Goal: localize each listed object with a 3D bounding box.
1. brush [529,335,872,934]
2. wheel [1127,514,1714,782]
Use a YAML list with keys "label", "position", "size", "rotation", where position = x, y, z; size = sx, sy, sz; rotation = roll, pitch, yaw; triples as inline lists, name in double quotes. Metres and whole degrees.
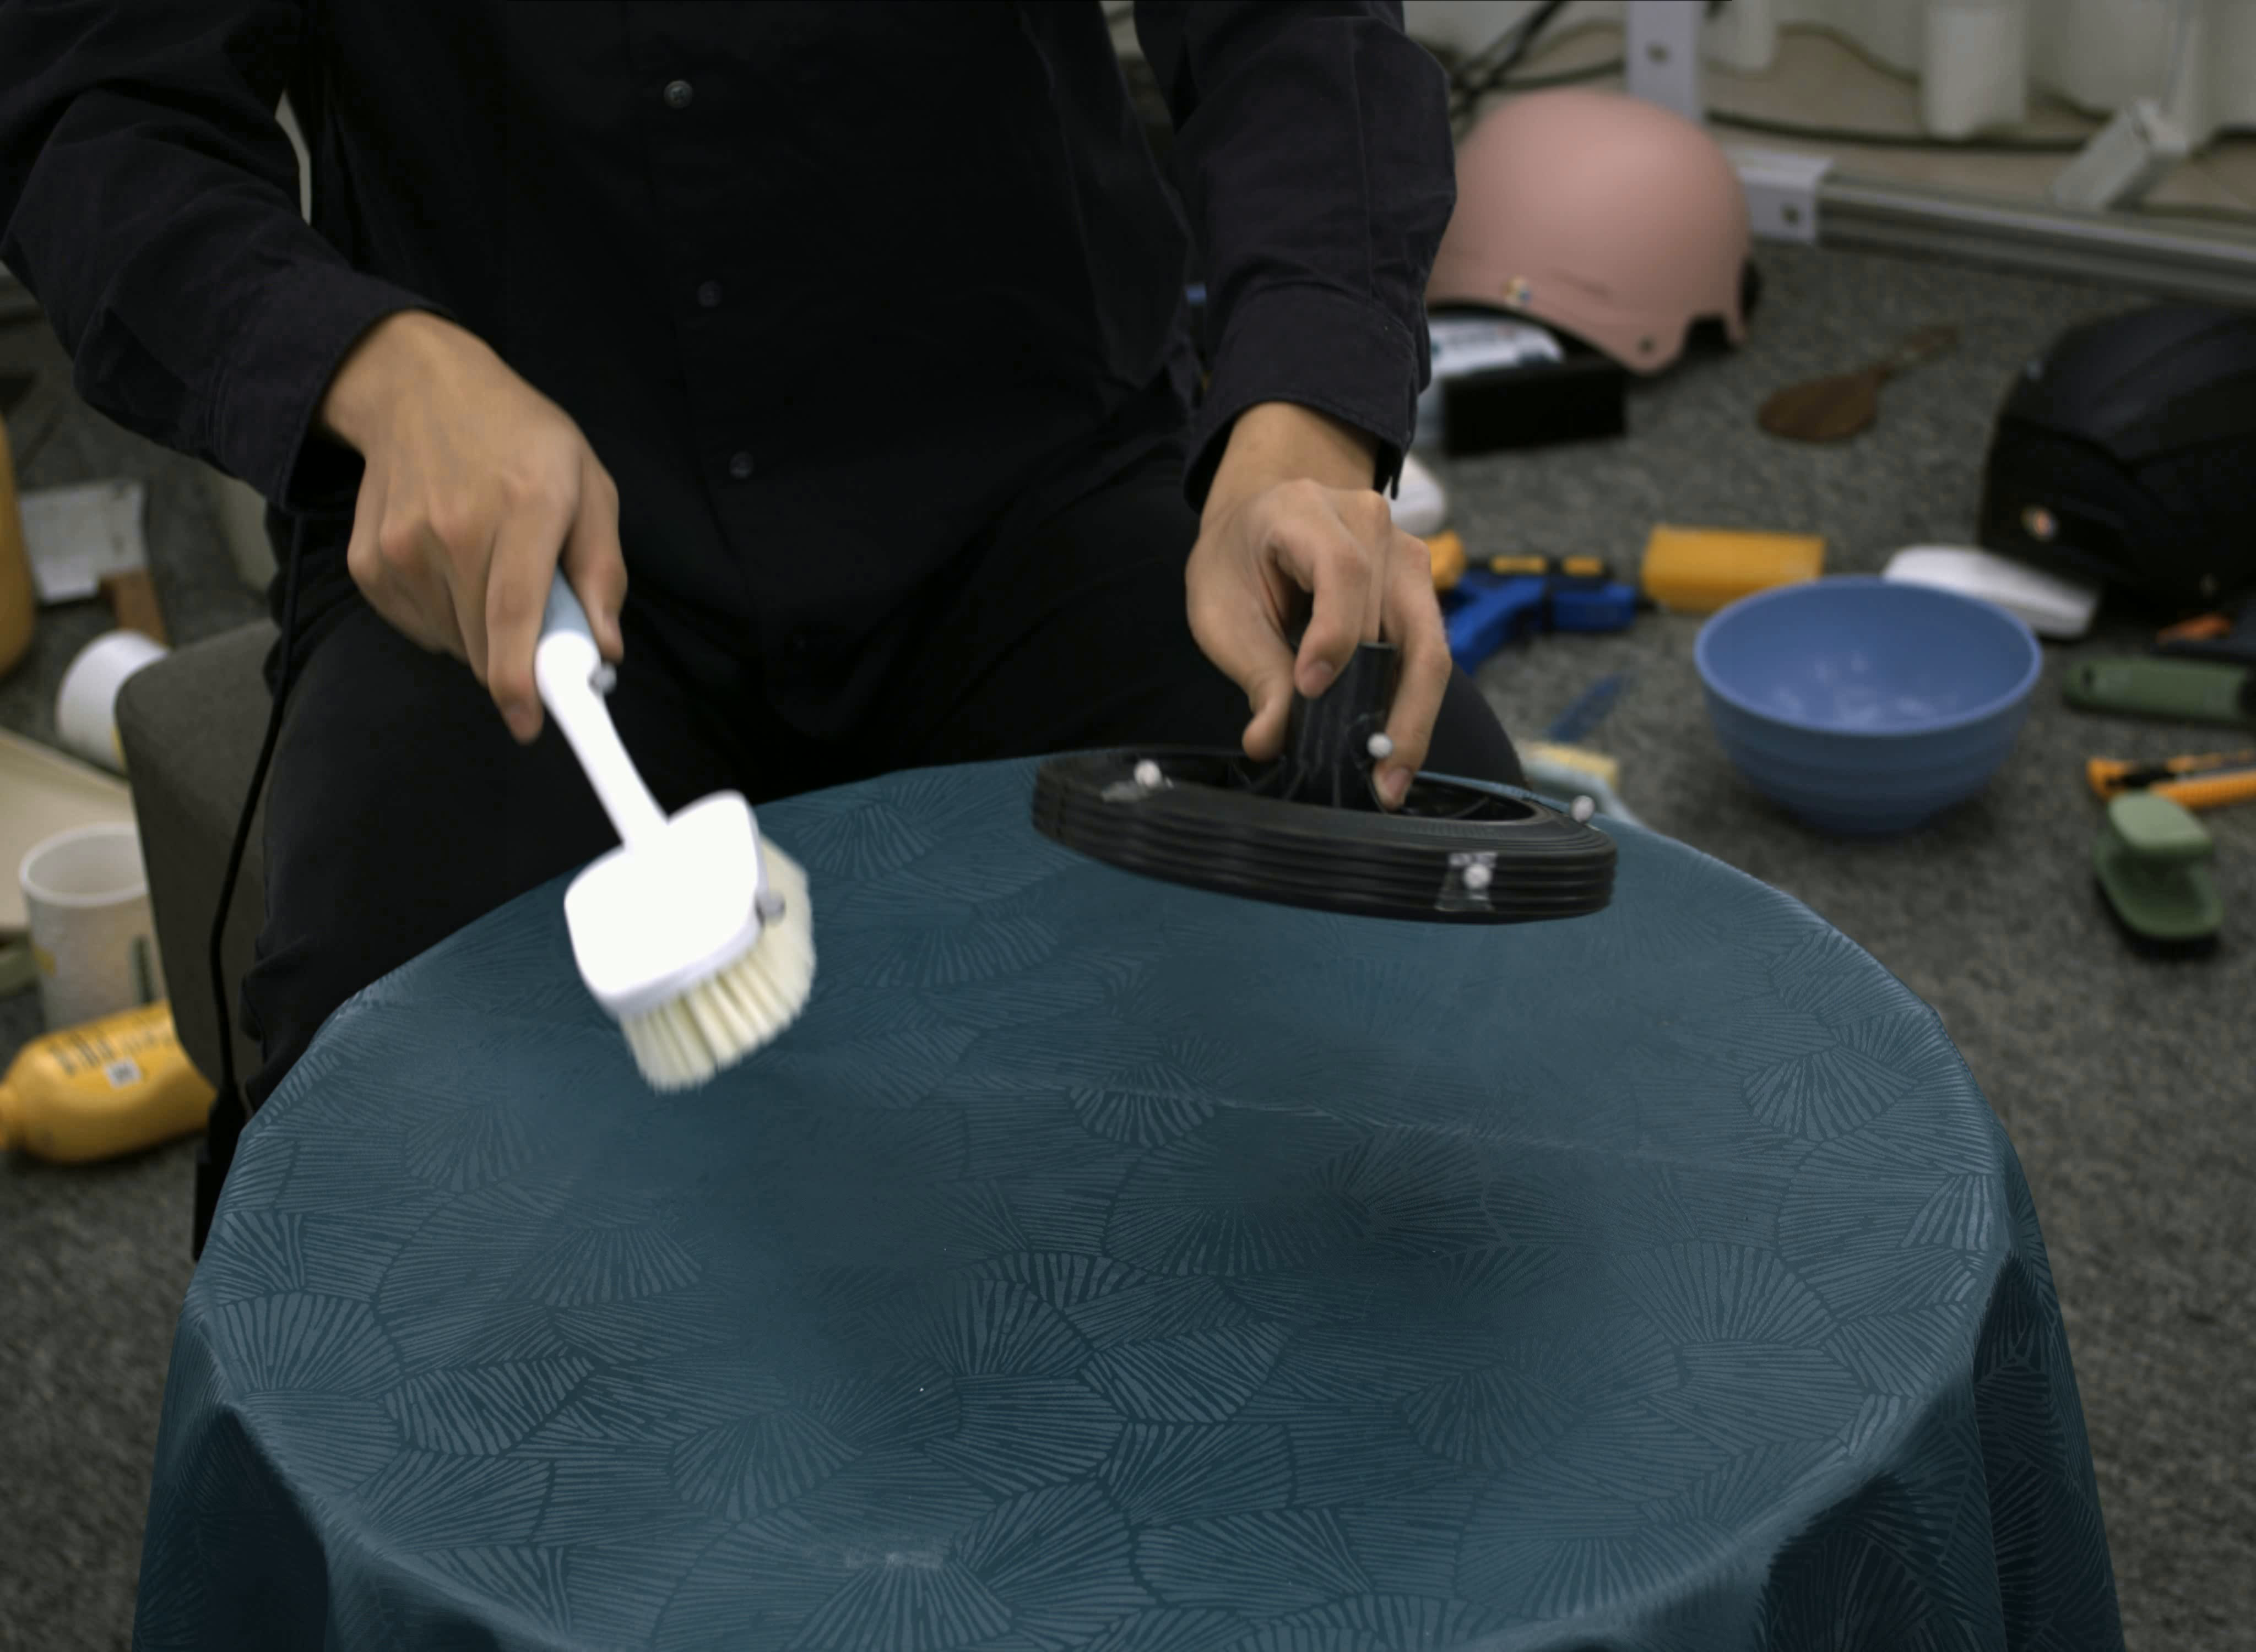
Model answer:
- label: "brush"
  position: [-0.139, -0.059, 1.864]
  size: [0.083, 0.083, 0.329]
  rotation: [1, 31, -17]
- label: "wheel"
  position: [0.096, -0.060, 1.812]
  size: [0.188, 0.079, 0.188]
  rotation: [10, 7, 32]
